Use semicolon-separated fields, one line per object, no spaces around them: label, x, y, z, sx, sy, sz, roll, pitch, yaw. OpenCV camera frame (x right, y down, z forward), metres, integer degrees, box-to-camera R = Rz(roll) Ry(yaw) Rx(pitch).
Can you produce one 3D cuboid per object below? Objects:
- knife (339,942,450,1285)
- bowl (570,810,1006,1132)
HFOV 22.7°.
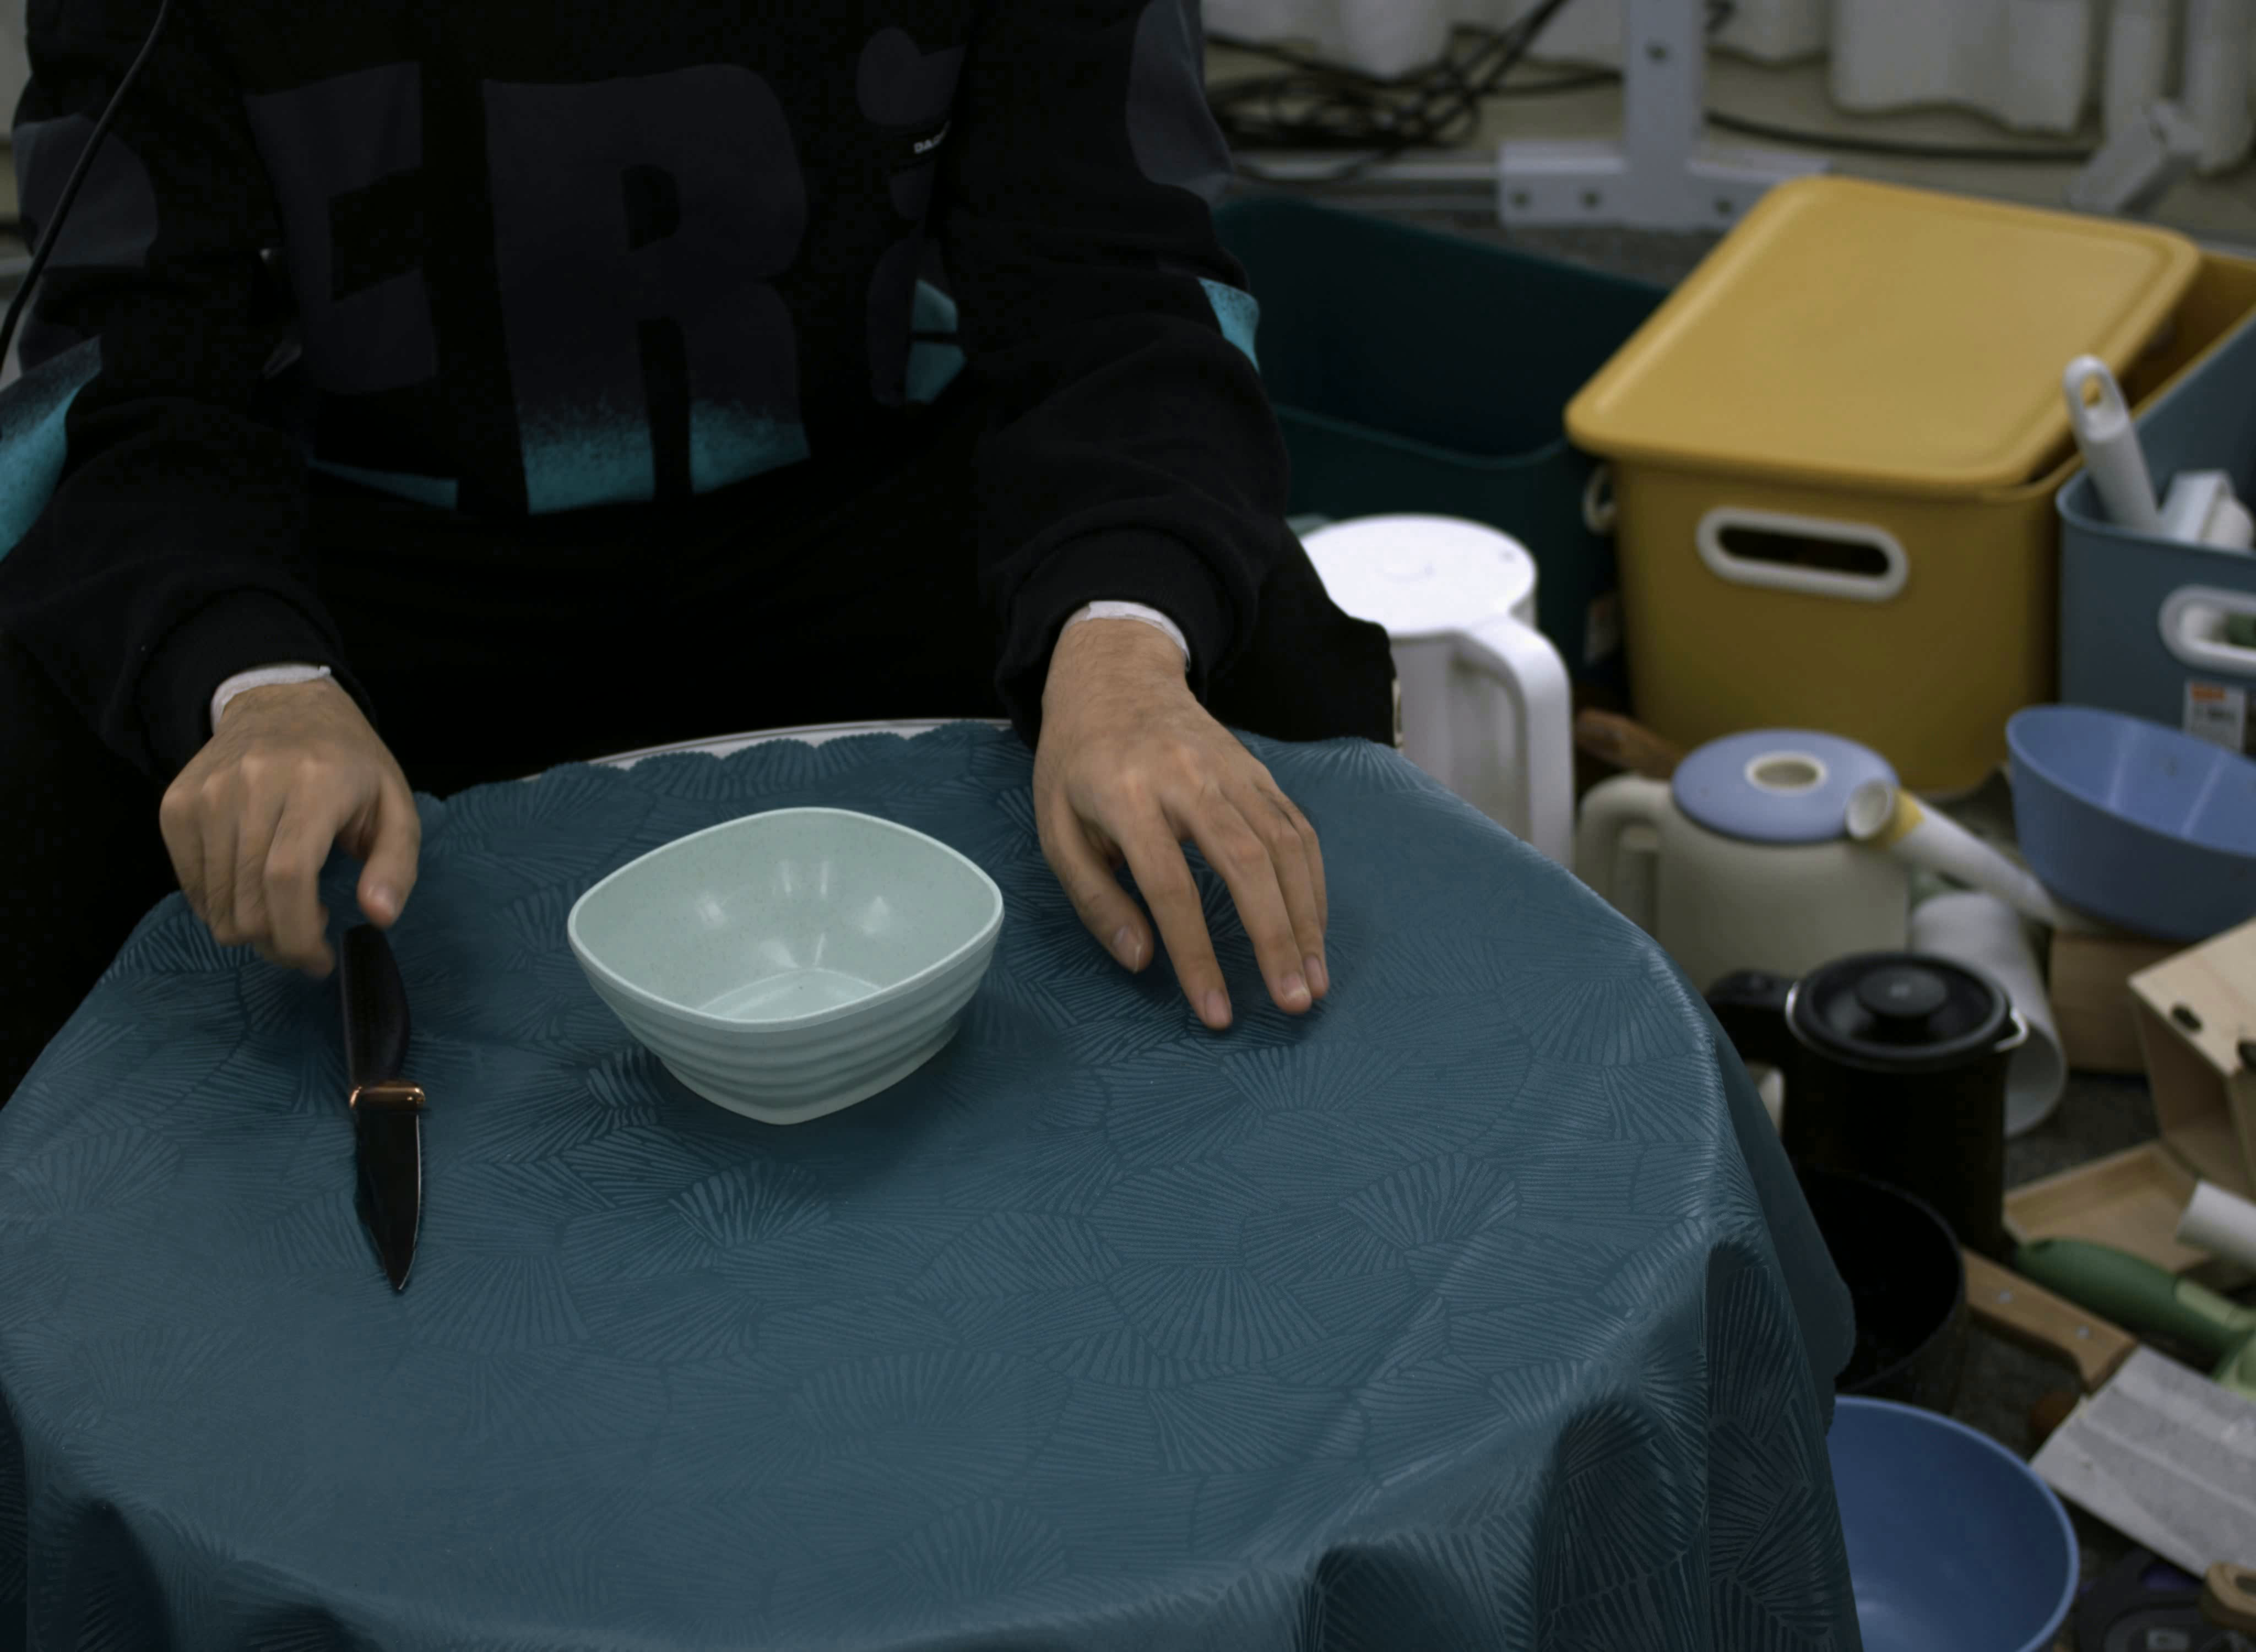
knife;-0.252;0.098;1.920;0.026;0.017;0.228;-10;29;-8
bowl;-0.115;0.056;1.942;0.150;0.058;0.154;-3;28;2
